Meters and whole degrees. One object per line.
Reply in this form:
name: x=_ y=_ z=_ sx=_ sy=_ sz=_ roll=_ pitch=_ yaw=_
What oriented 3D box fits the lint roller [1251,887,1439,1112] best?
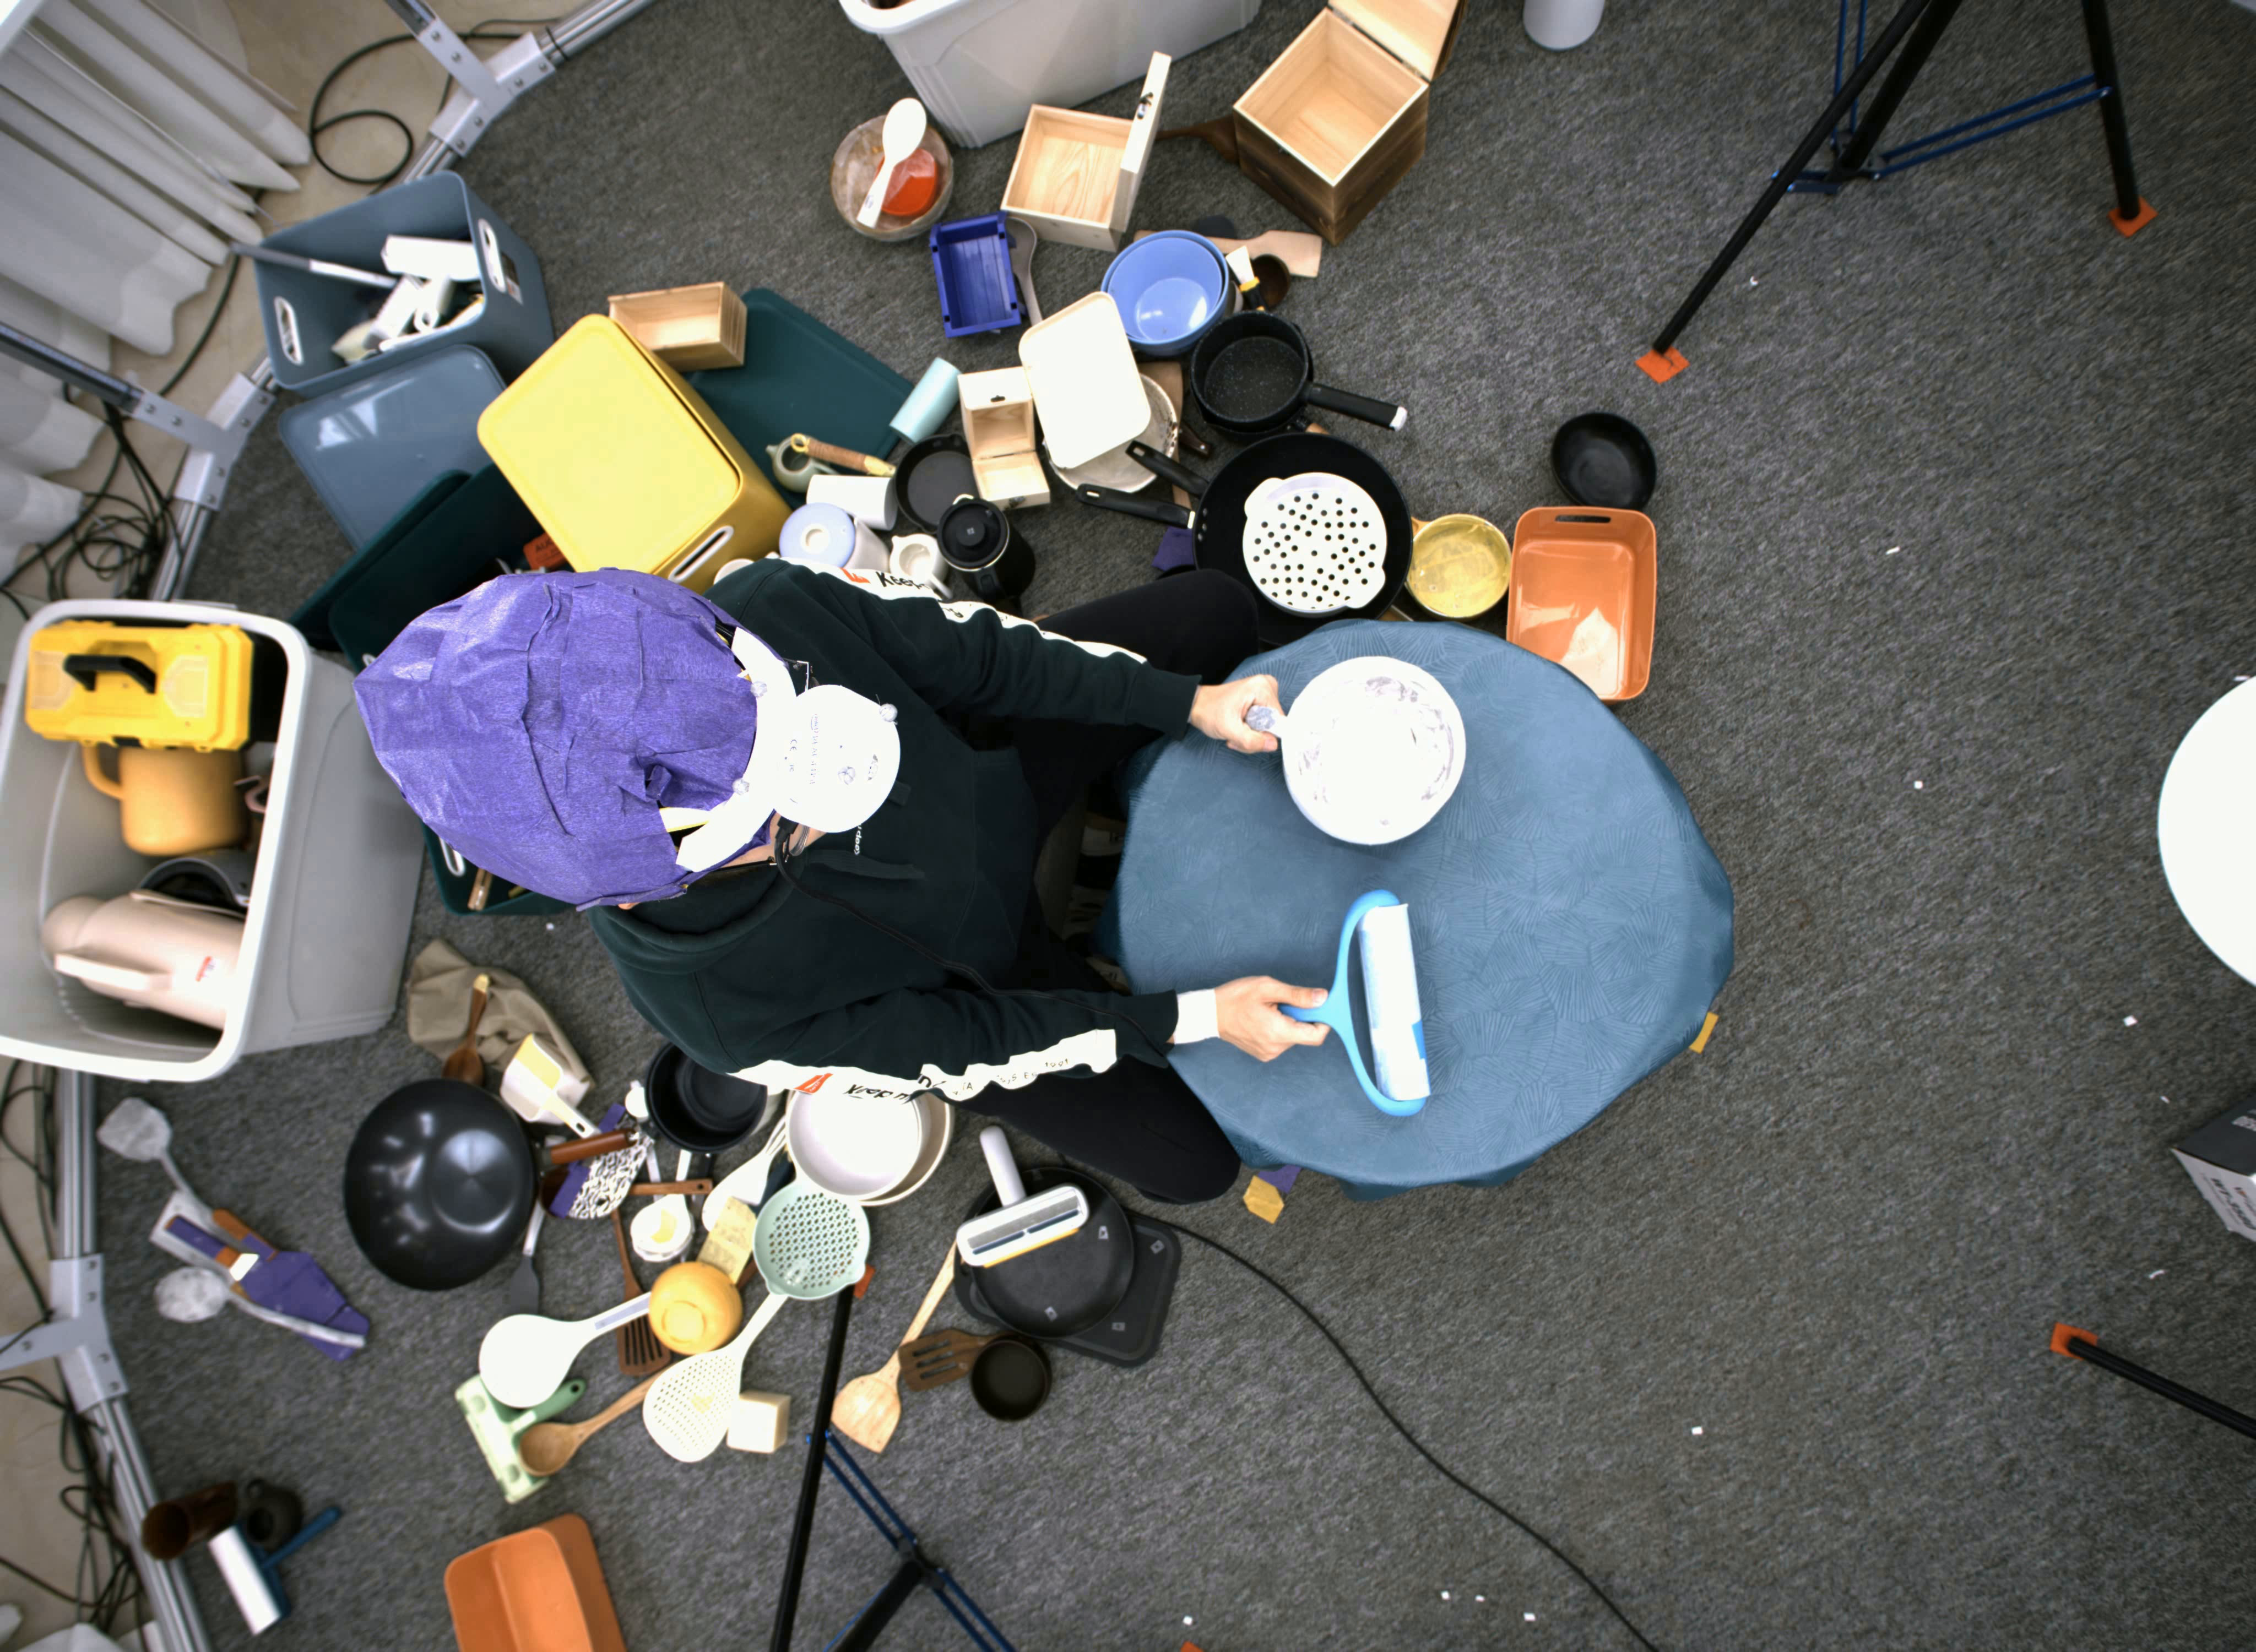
lint roller: x=0.214 y=0.186 z=1.404 sx=0.181 sy=0.068 sz=0.228 roll=-12 pitch=90 yaw=7

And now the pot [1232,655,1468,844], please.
pot: x=0.219 y=-0.081 z=1.394 sx=0.234 sy=0.137 sz=0.178 roll=15 pitch=88 yaw=7
